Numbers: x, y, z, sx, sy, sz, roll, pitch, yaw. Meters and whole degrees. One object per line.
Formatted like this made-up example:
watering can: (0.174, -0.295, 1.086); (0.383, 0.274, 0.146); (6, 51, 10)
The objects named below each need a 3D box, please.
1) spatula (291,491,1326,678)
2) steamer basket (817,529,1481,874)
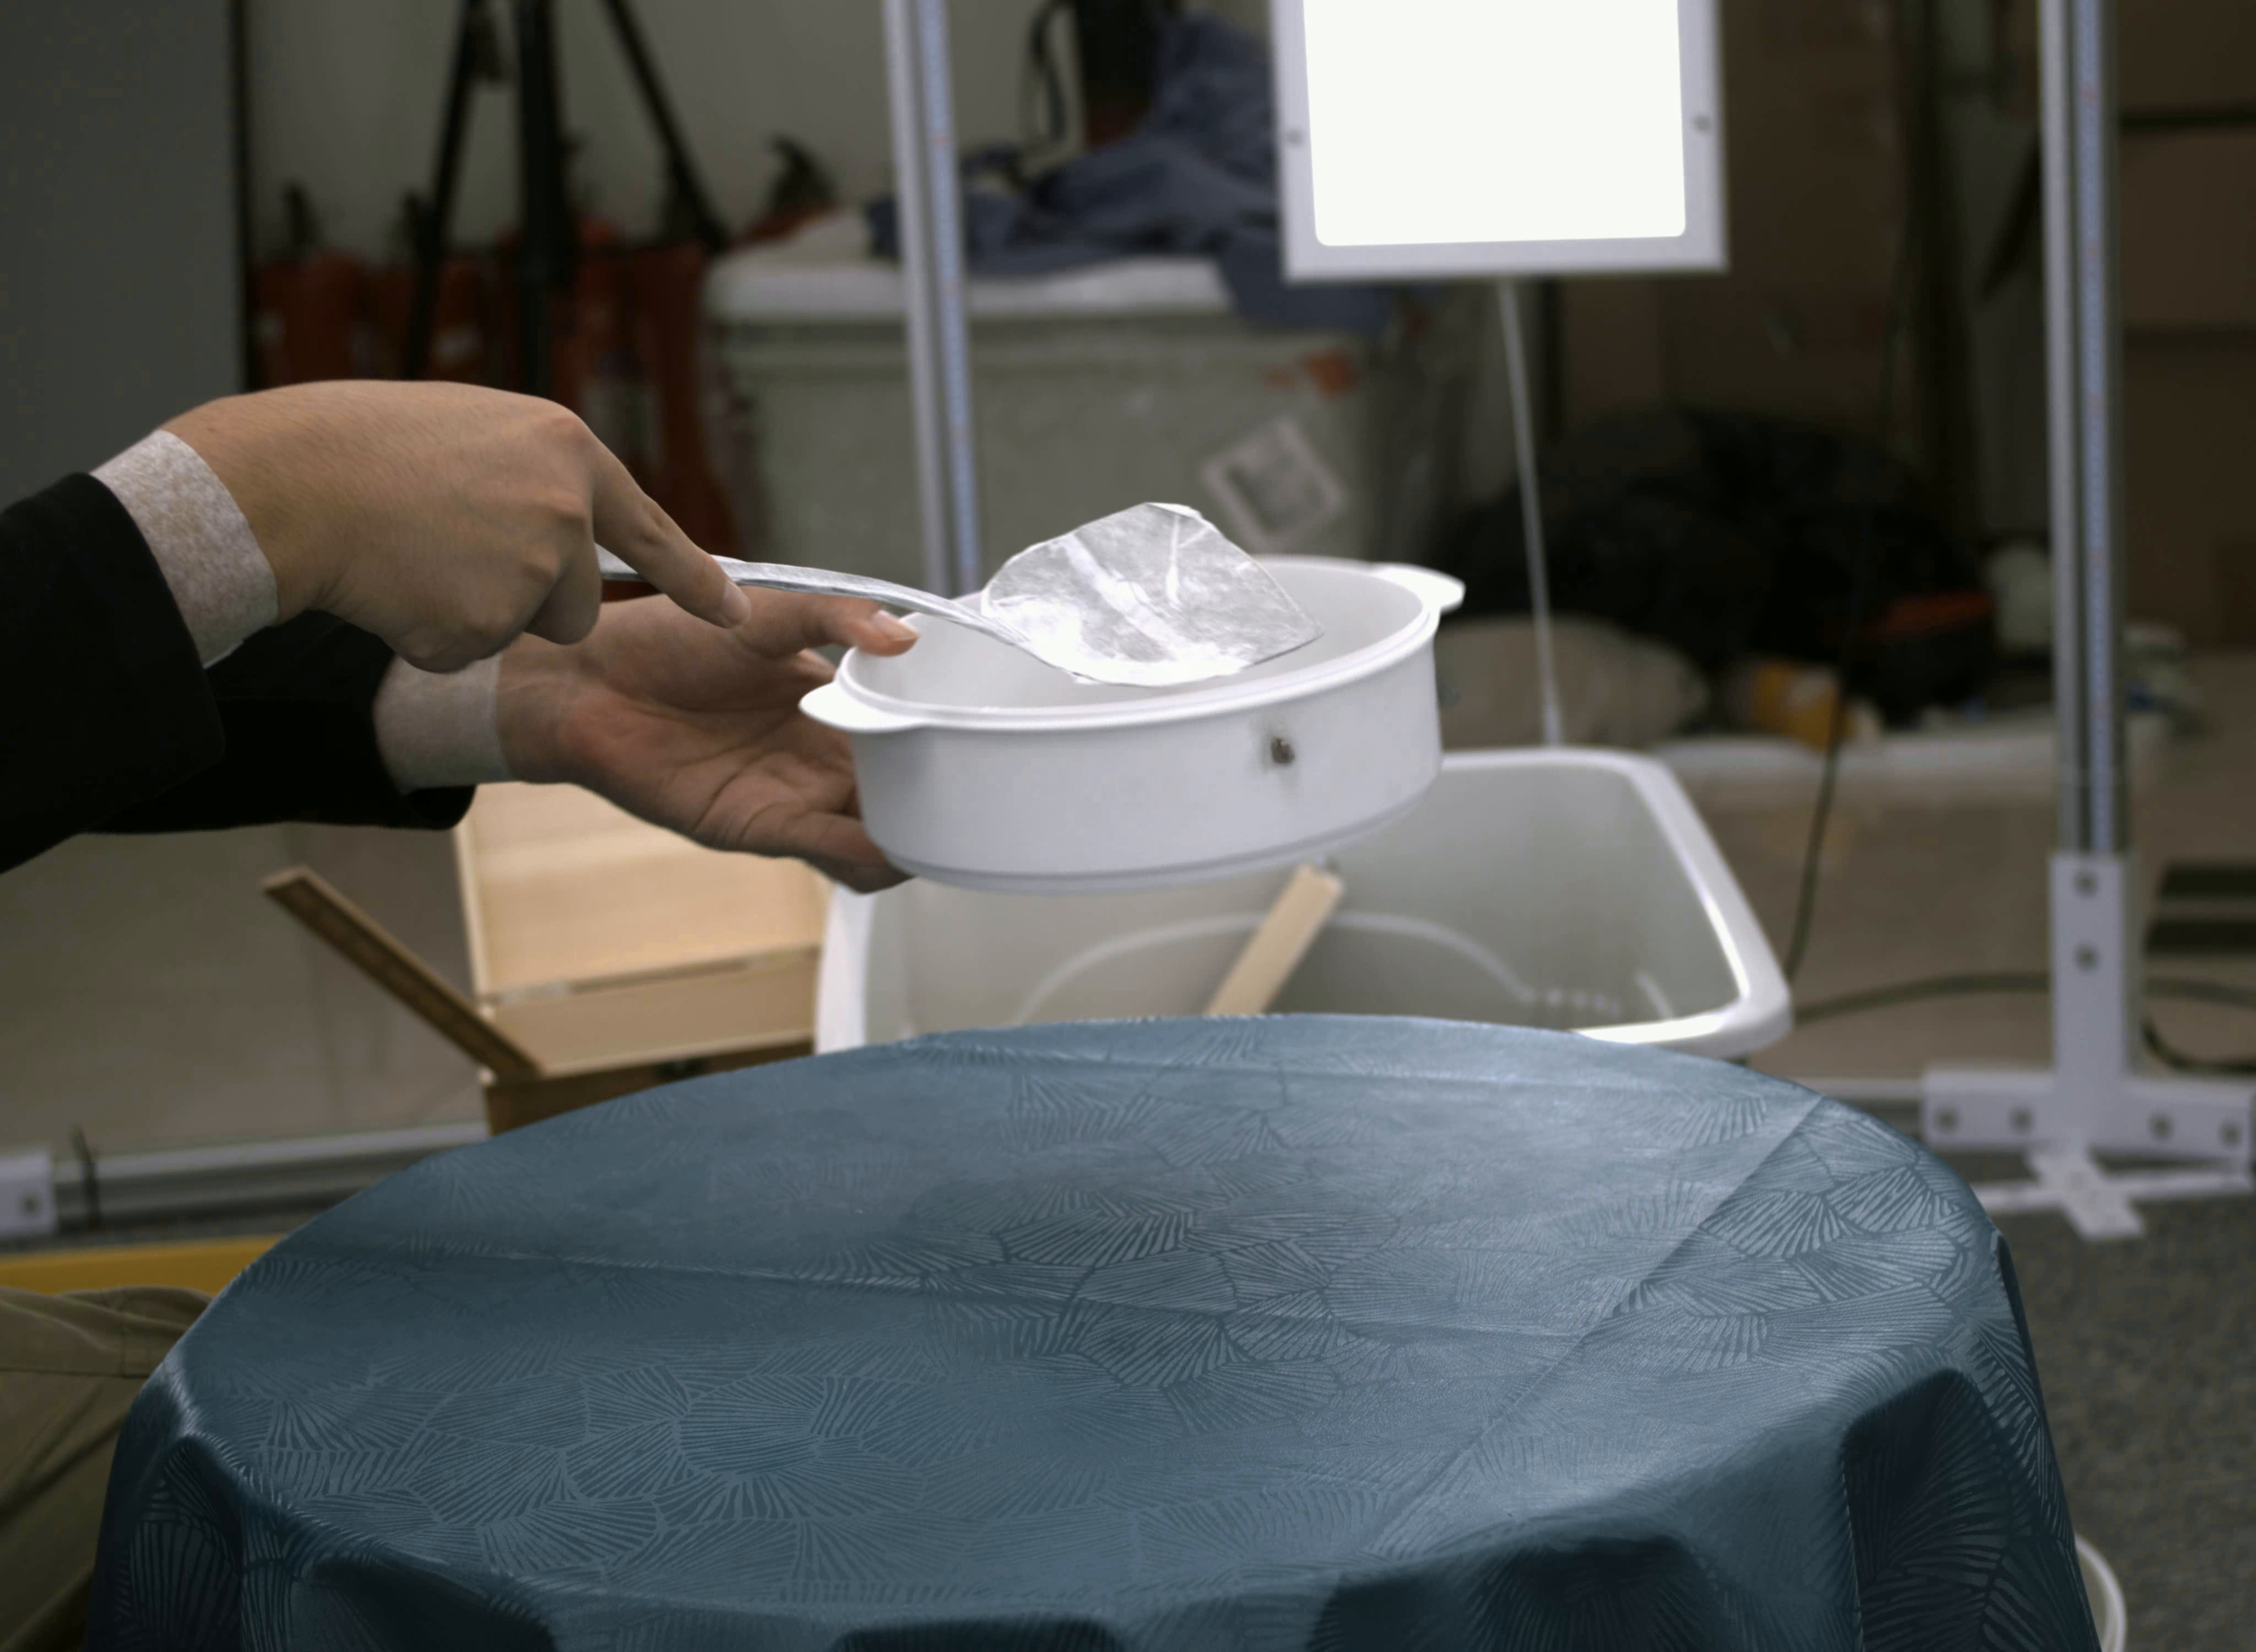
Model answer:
spatula: (-0.095, -0.081, 1.720); (0.356, 0.045, 0.100); (4, 30, -39)
steamer basket: (0.013, -0.040, 1.818); (0.226, 0.069, 0.205); (-16, 16, -19)
